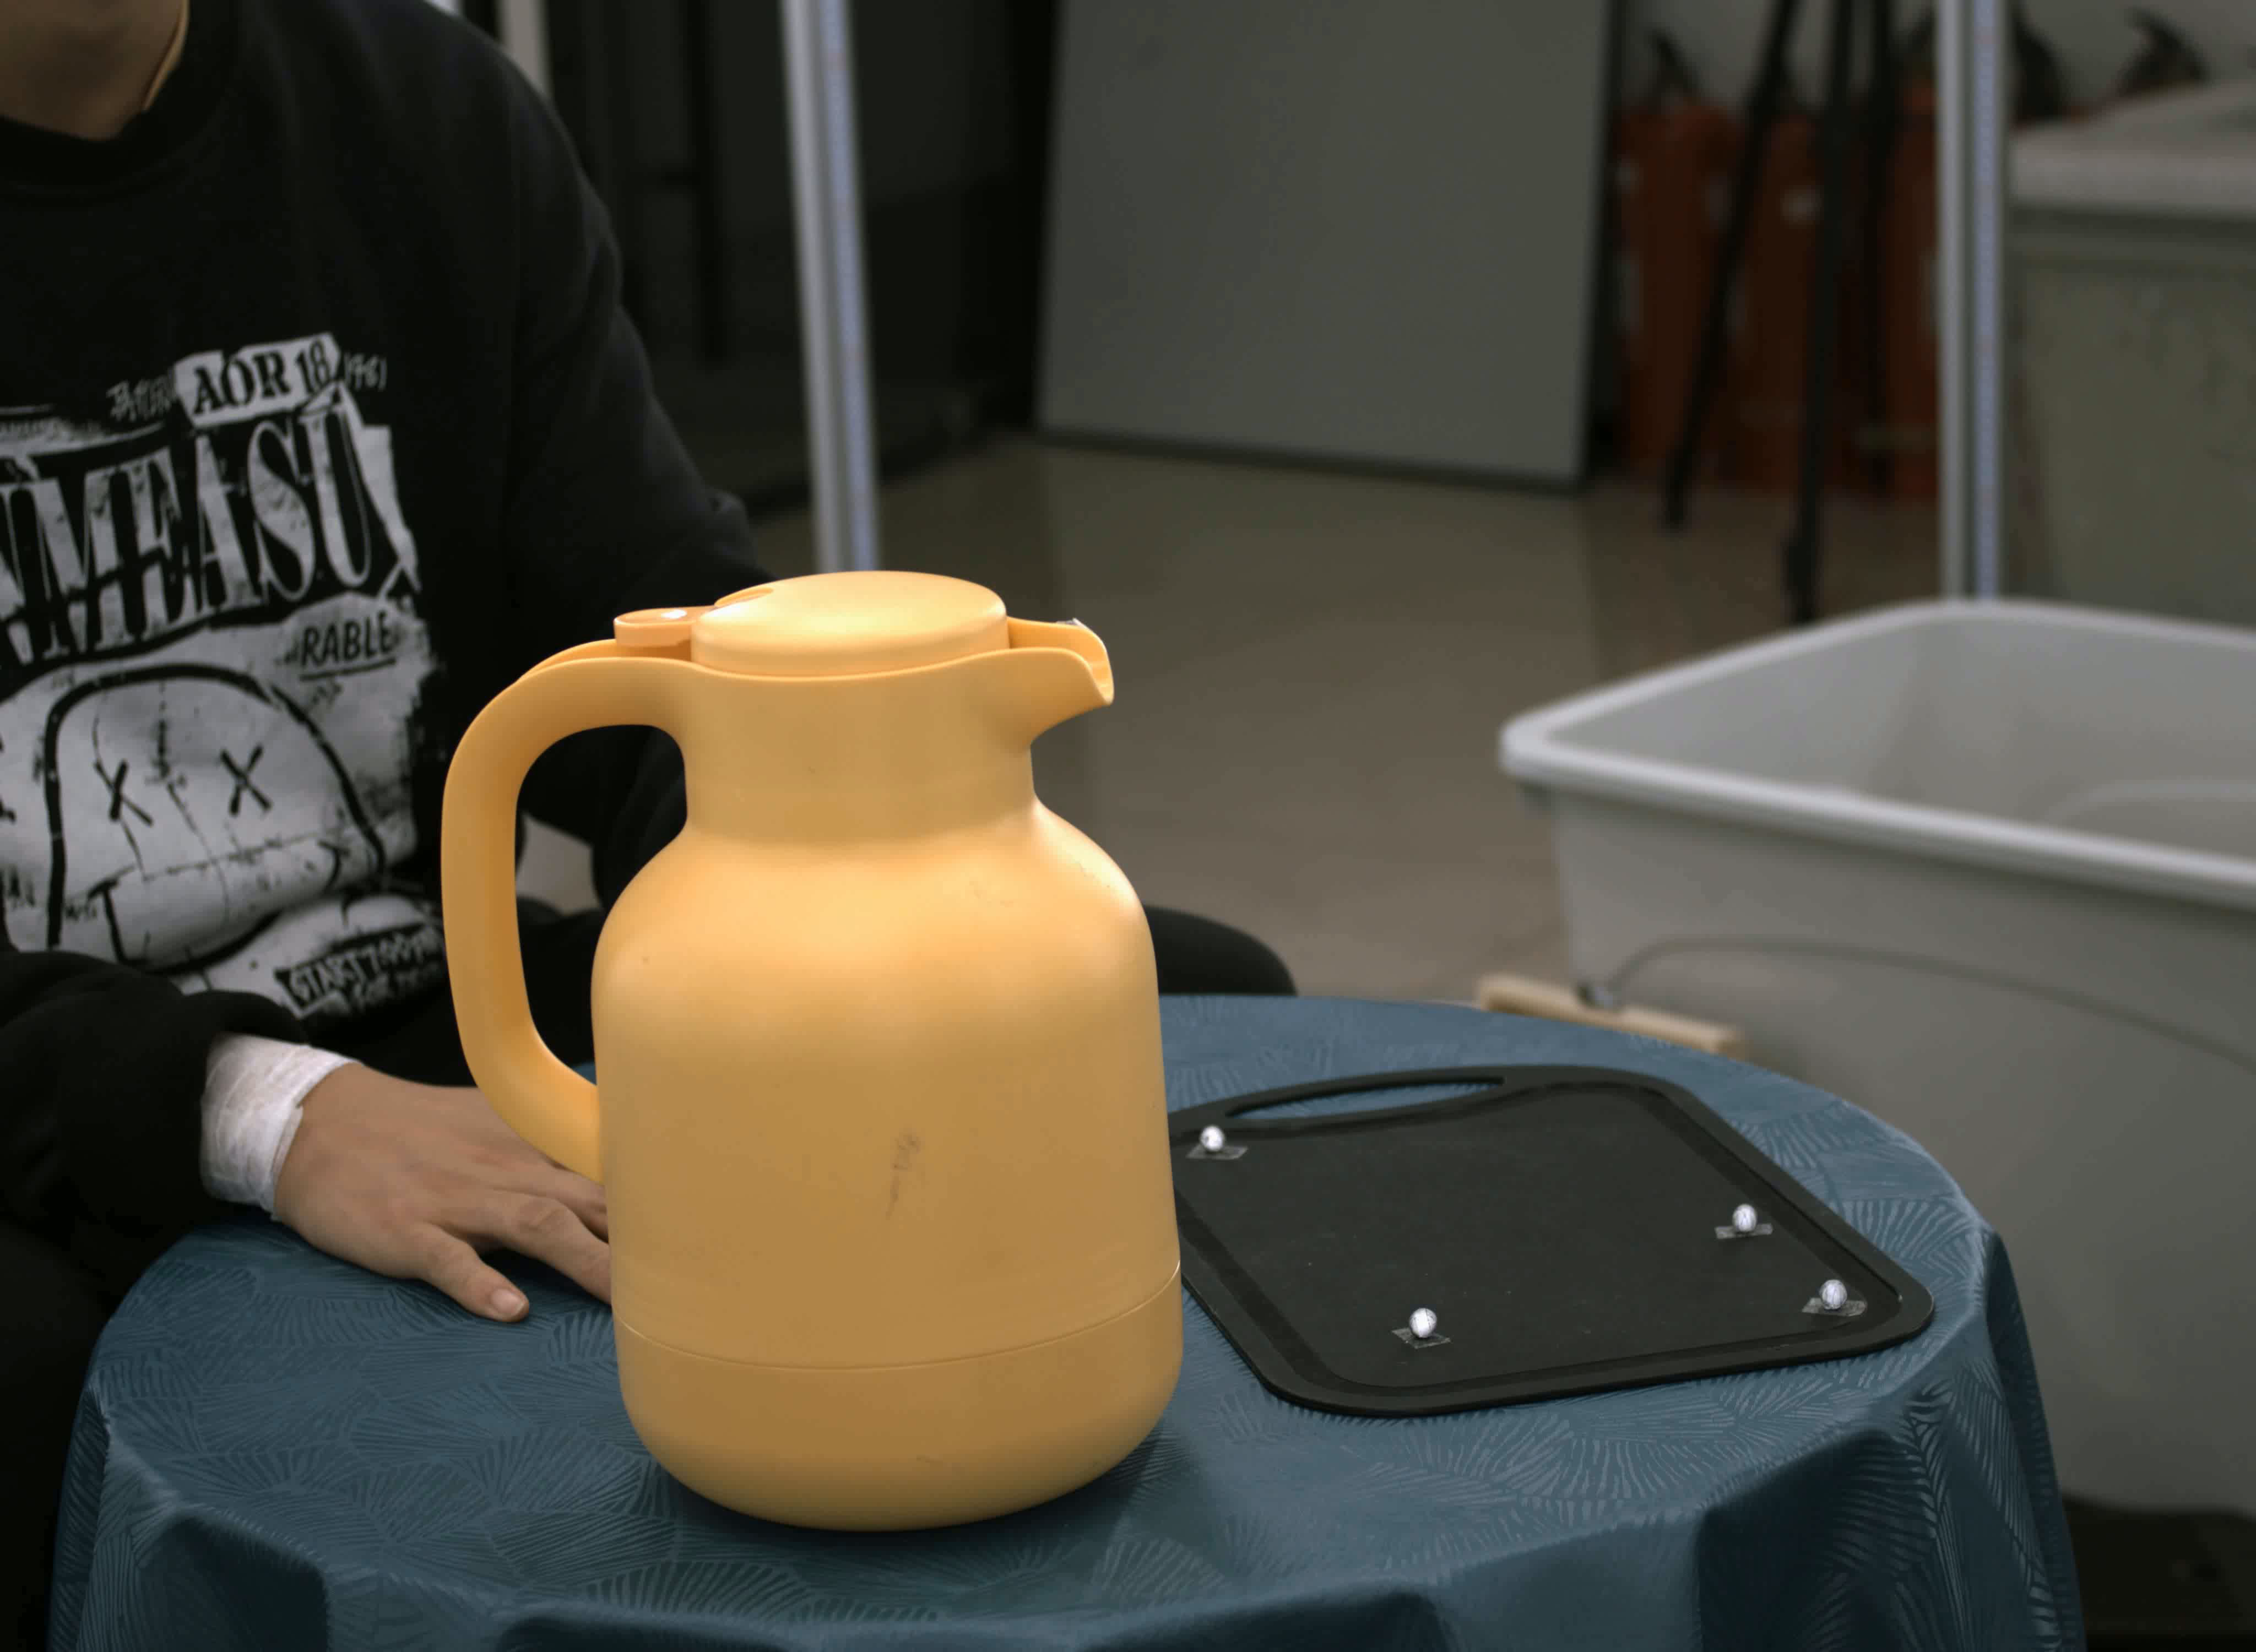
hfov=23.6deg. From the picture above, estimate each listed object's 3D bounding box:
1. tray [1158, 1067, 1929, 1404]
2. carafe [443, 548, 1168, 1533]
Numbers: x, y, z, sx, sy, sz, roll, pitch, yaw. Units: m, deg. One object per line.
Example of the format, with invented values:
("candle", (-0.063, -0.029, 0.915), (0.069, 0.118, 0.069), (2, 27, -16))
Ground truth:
("tray", (0.113, 0.123, 1.715), (0.207, 0.010, 0.327), (-7, 14, -11))
("carafe", (-0.090, 0.055, 1.519), (0.201, 0.263, 0.162), (1, 12, 14))
